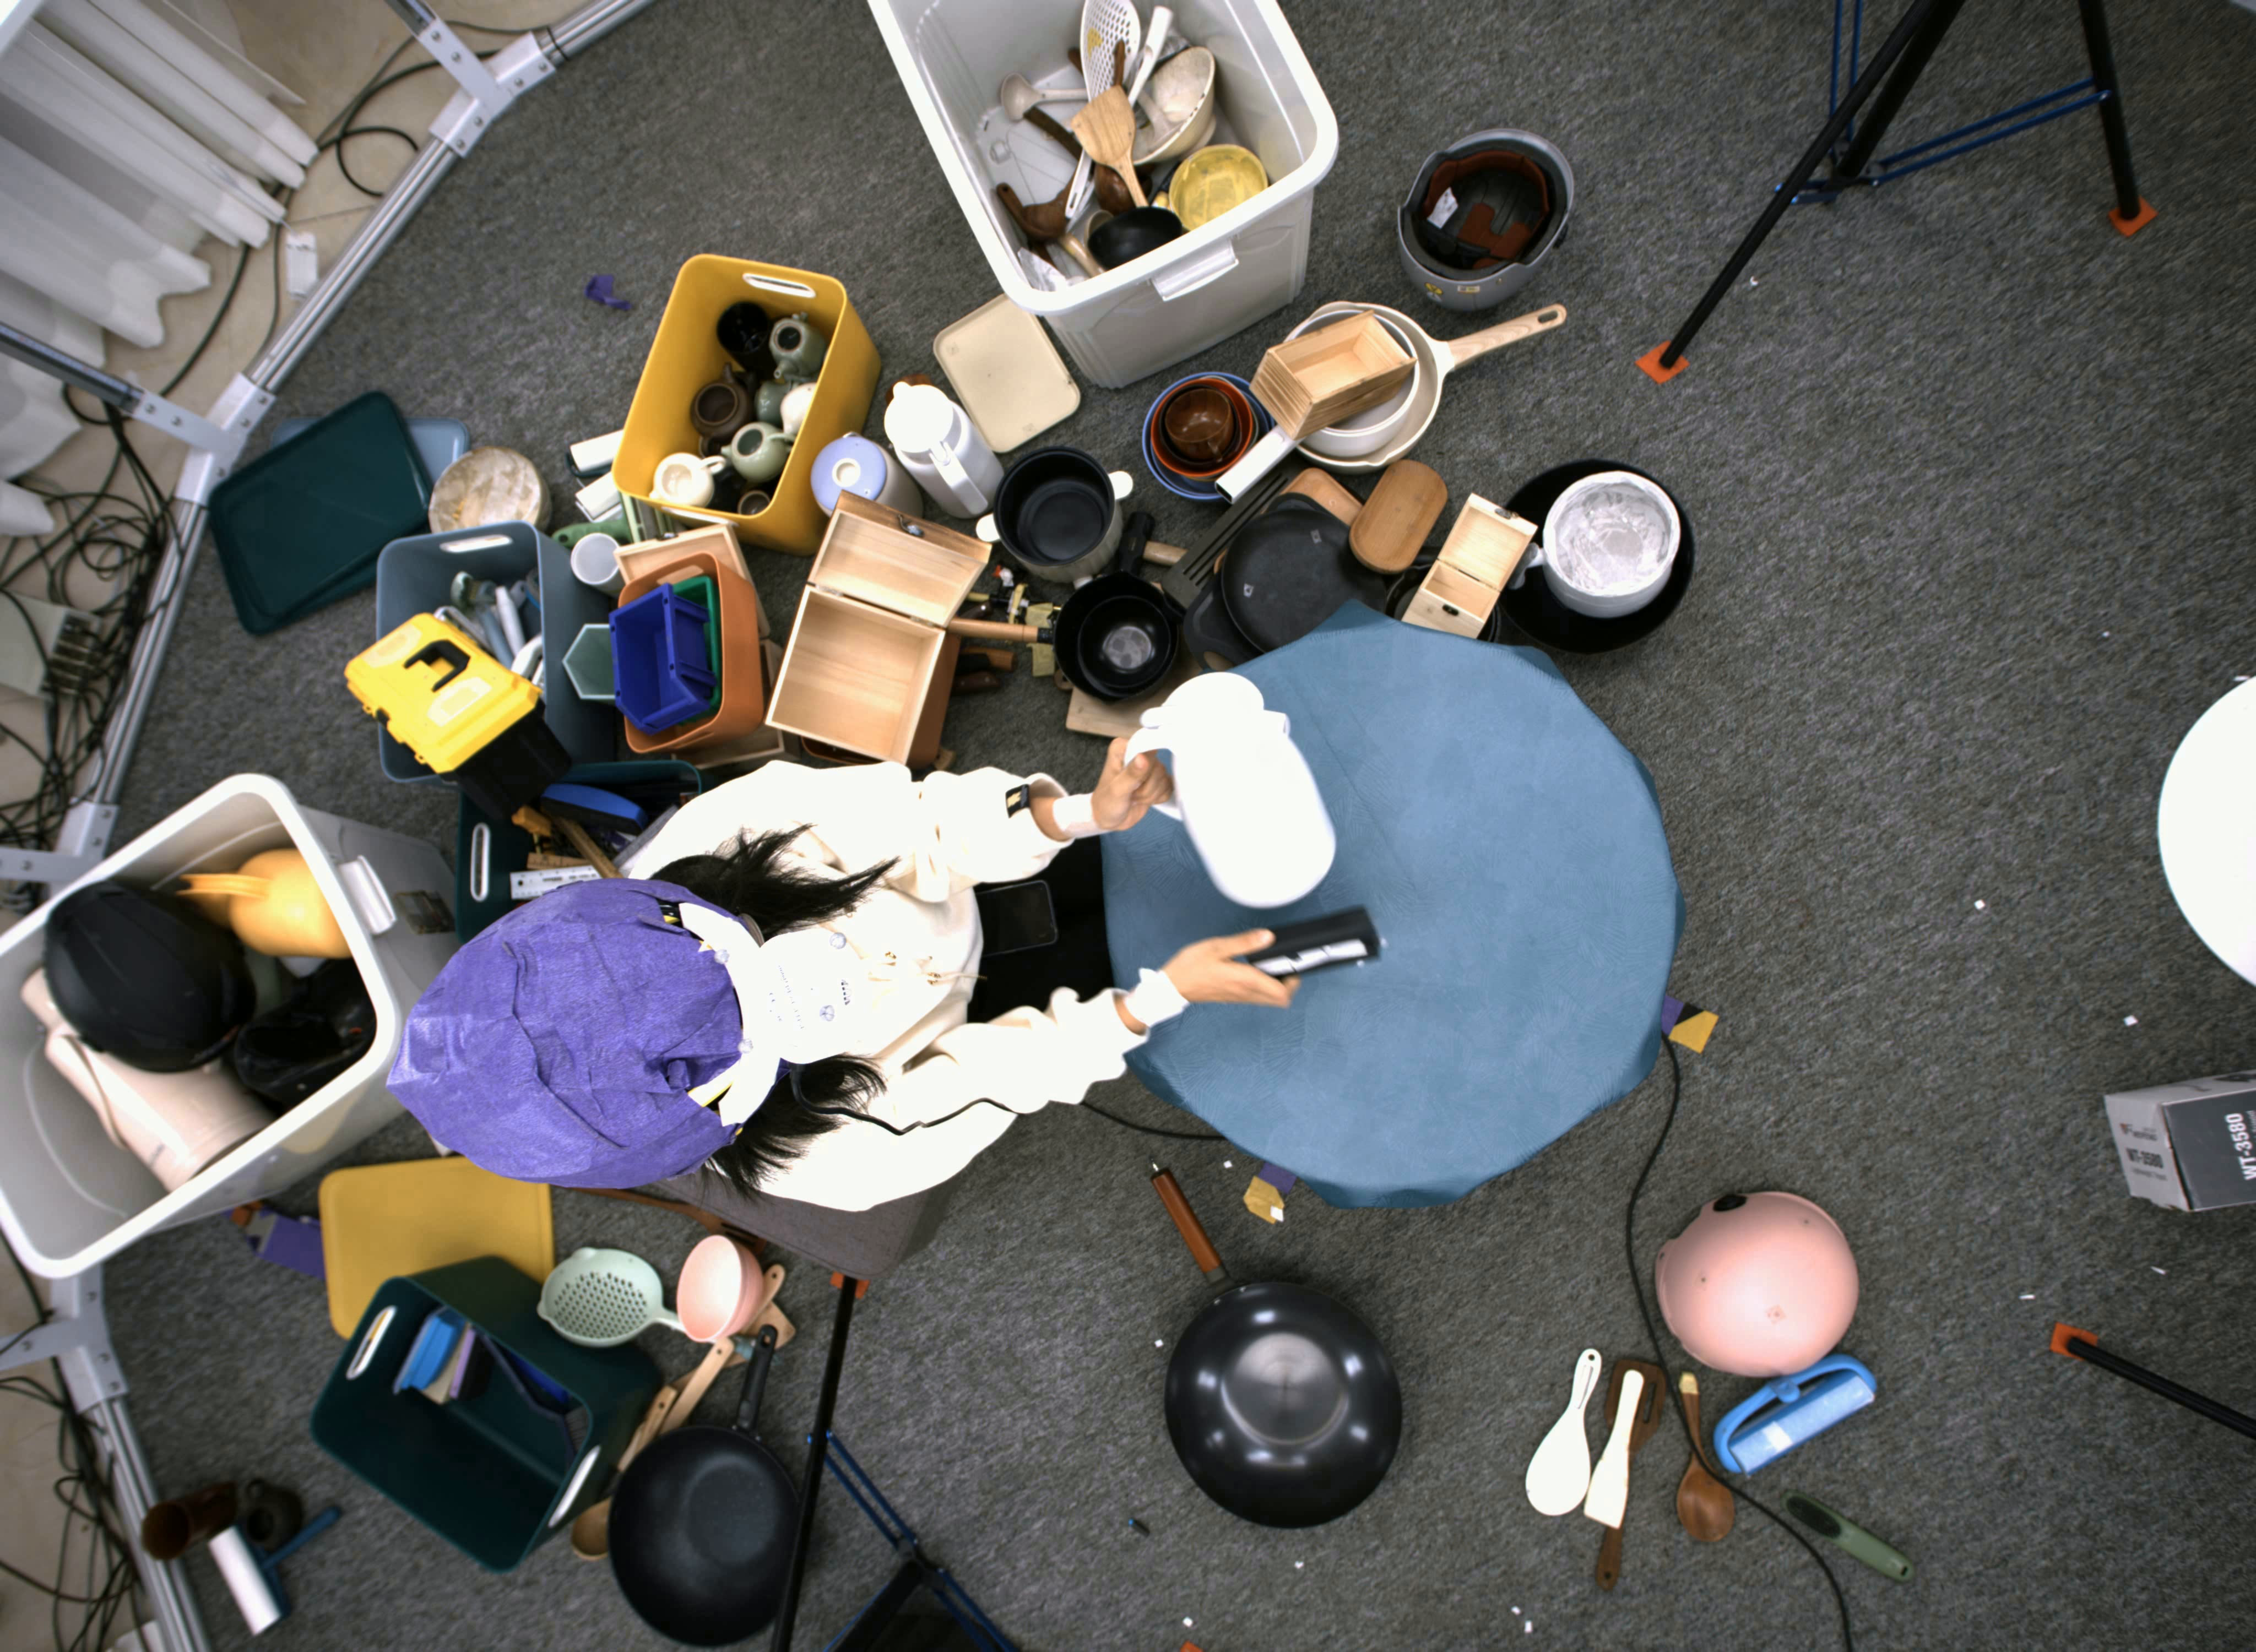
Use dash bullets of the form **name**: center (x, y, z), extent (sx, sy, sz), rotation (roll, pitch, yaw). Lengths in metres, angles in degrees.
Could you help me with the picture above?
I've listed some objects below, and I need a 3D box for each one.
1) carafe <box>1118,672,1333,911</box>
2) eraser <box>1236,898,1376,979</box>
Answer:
- **carafe**: center (0.083, -0.035, 1.282), extent (0.169, 0.253, 0.129), rotation (-1, 60, 21)
- **eraser**: center (0.171, 0.108, 1.331), extent (0.127, 0.054, 0.029), rotation (-17, 41, 22)
